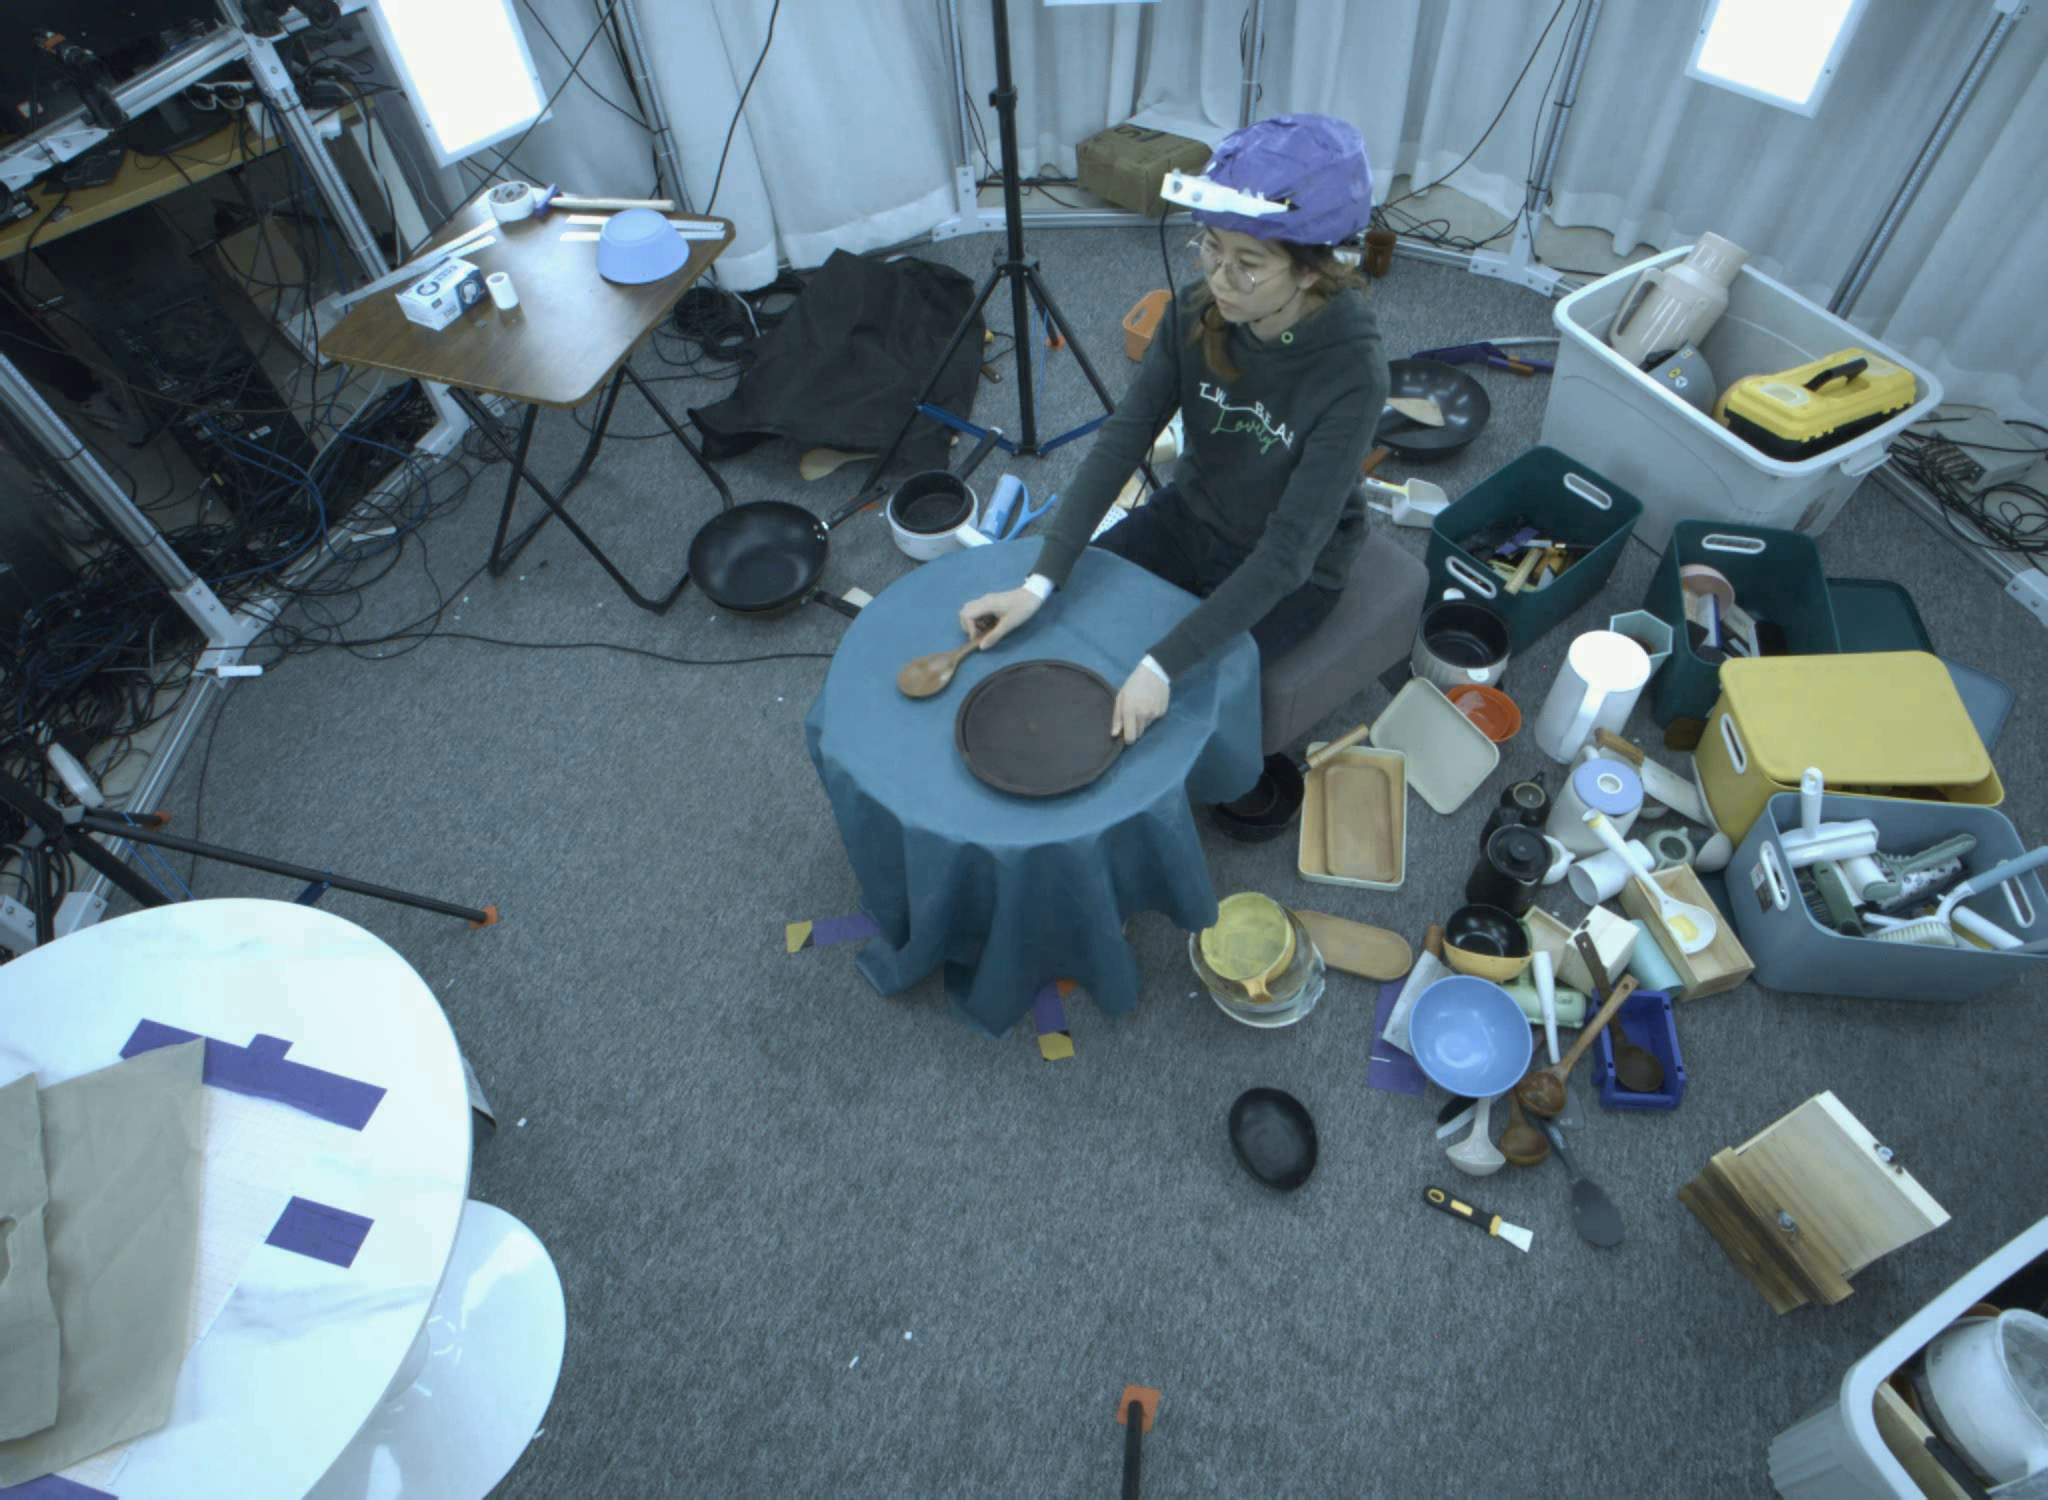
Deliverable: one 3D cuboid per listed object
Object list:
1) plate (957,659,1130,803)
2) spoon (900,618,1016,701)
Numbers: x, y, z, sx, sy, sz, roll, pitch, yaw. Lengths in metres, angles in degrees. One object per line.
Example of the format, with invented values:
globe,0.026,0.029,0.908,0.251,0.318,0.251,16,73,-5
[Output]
plate,0.028,-0.027,1.800,0.254,0.029,0.252,-1,55,2
spoon,-0.098,-0.141,1.889,0.217,0.017,0.074,-37,61,-21
